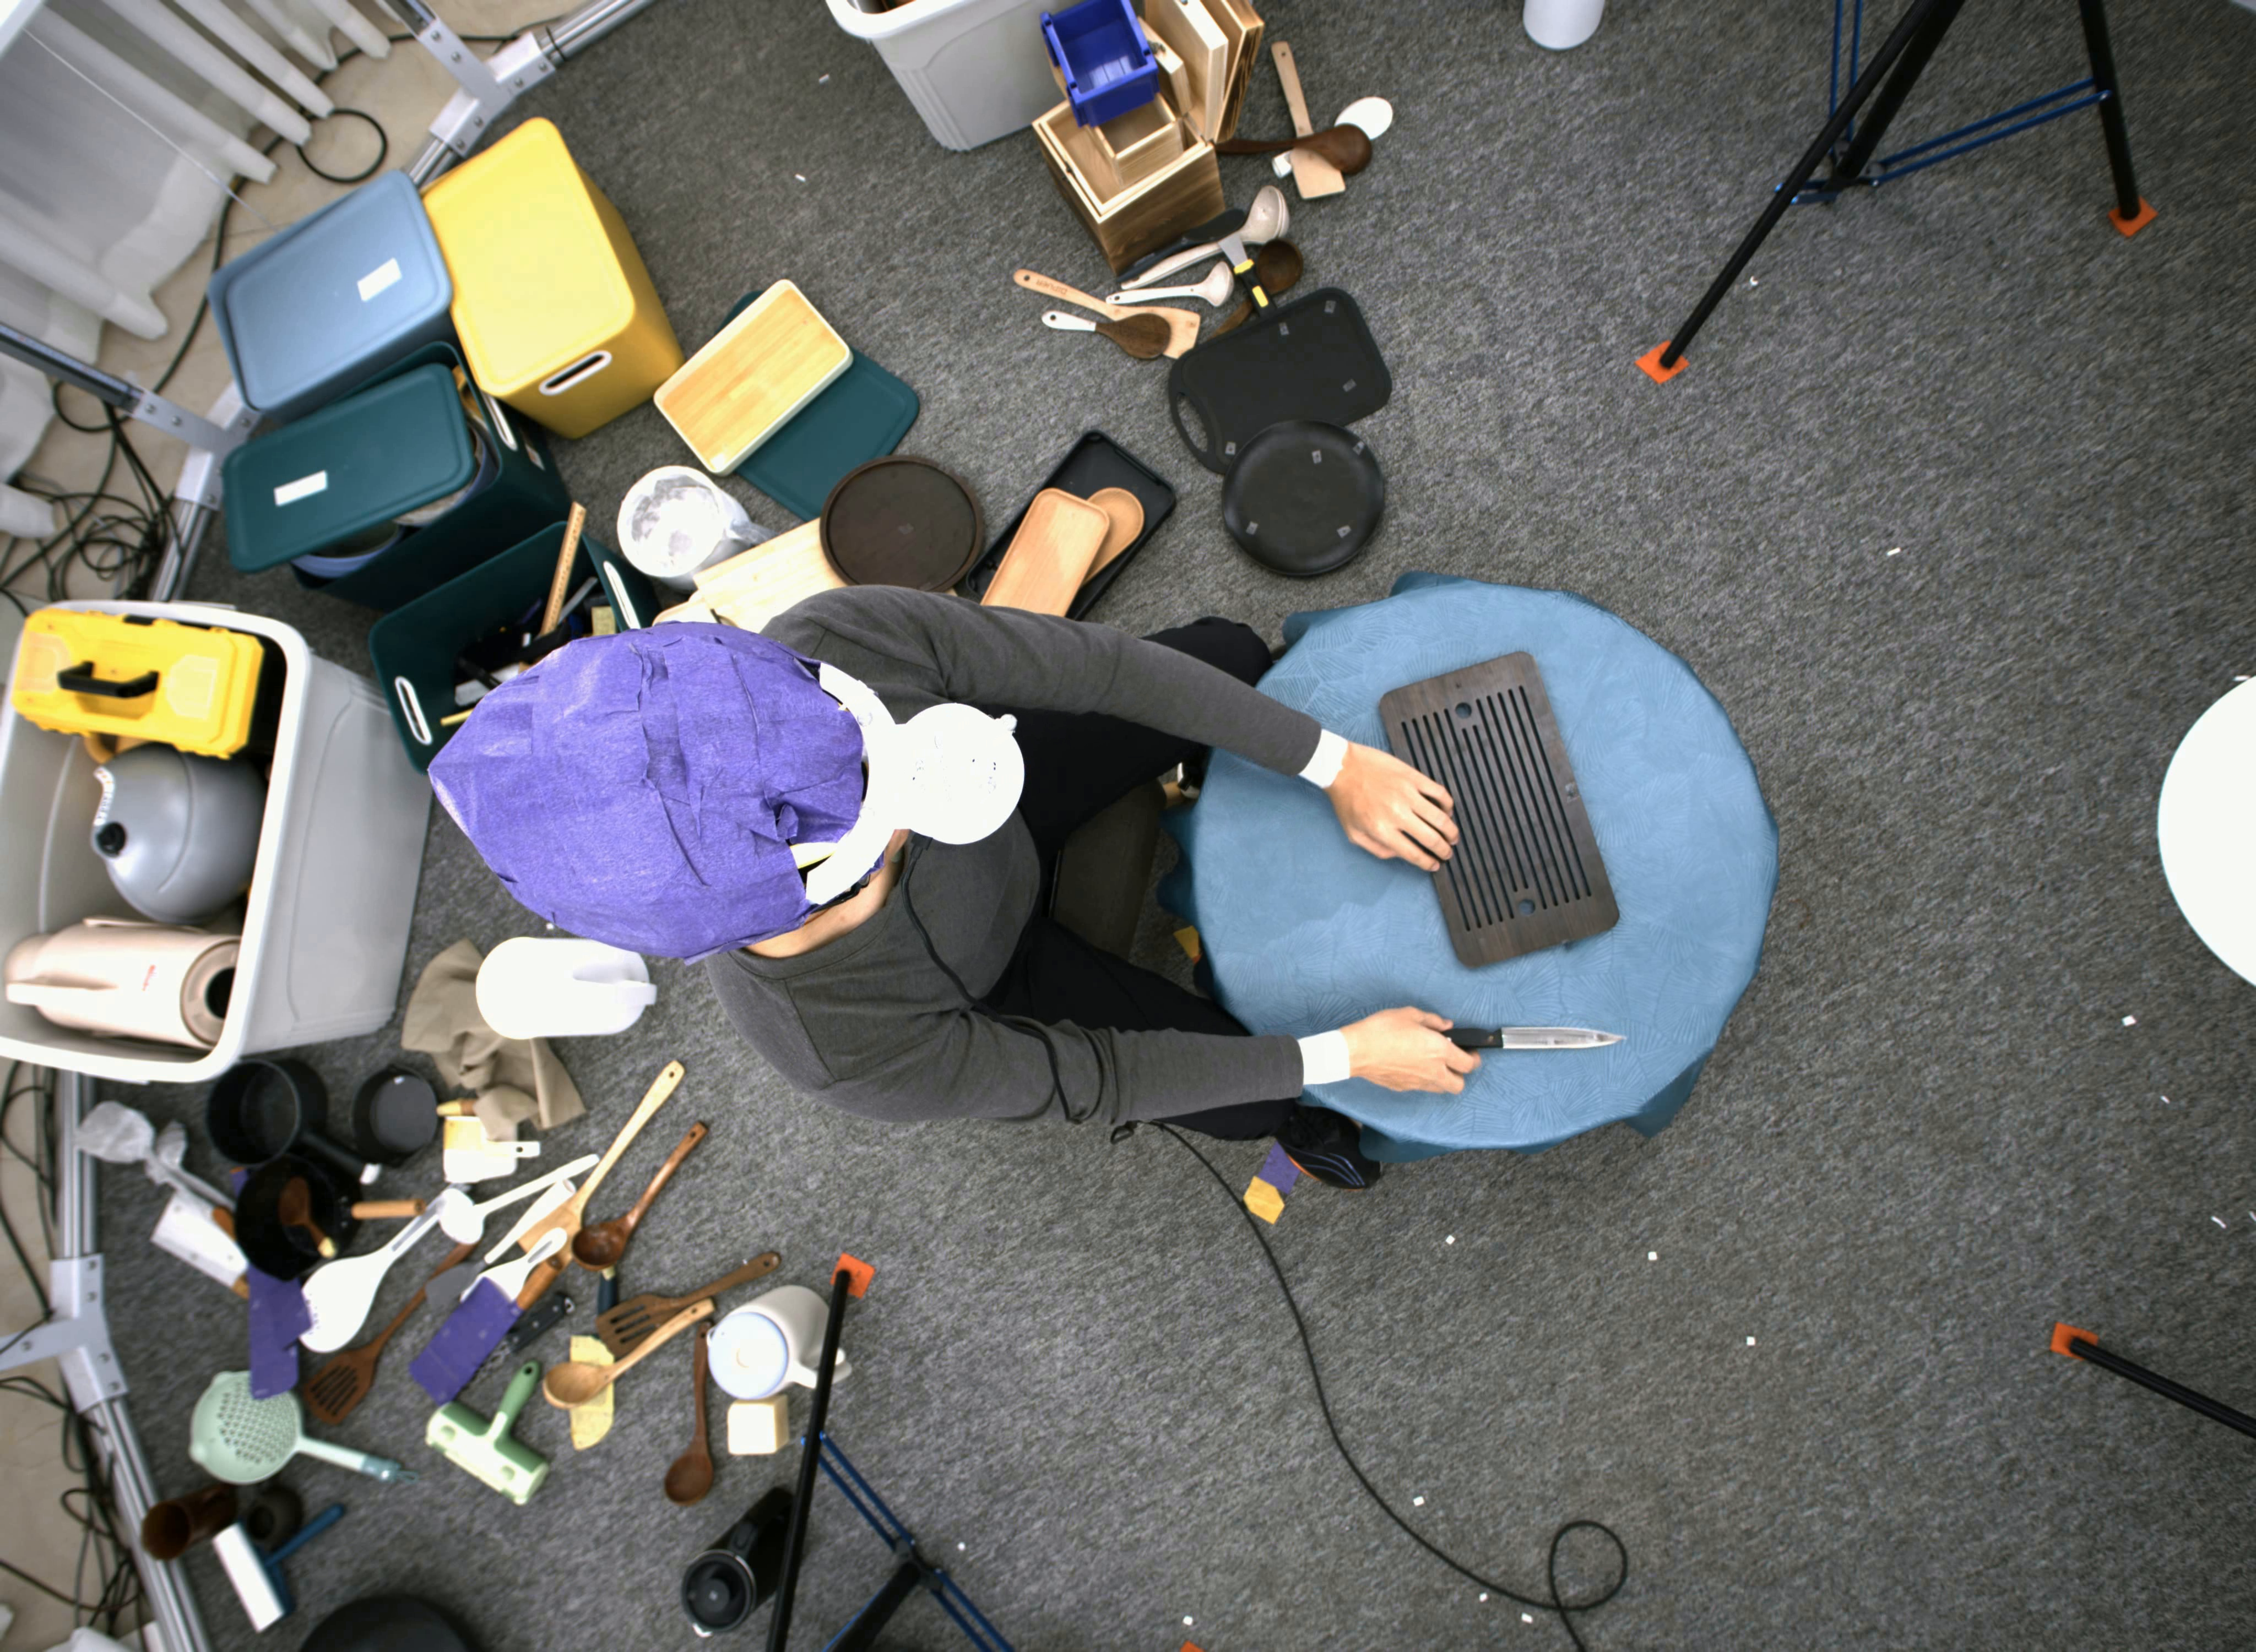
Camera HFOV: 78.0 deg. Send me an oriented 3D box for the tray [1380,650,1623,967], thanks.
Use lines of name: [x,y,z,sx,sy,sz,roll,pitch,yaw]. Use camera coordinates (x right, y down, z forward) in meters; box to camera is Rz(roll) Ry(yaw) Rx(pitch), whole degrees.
tray: [0.388,-0.021,1.434,0.171,0.018,0.304,-17,84,10]

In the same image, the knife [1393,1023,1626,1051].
knife: [0.393,0.216,1.418,0.239,0.016,0.024,-4,66,5]
